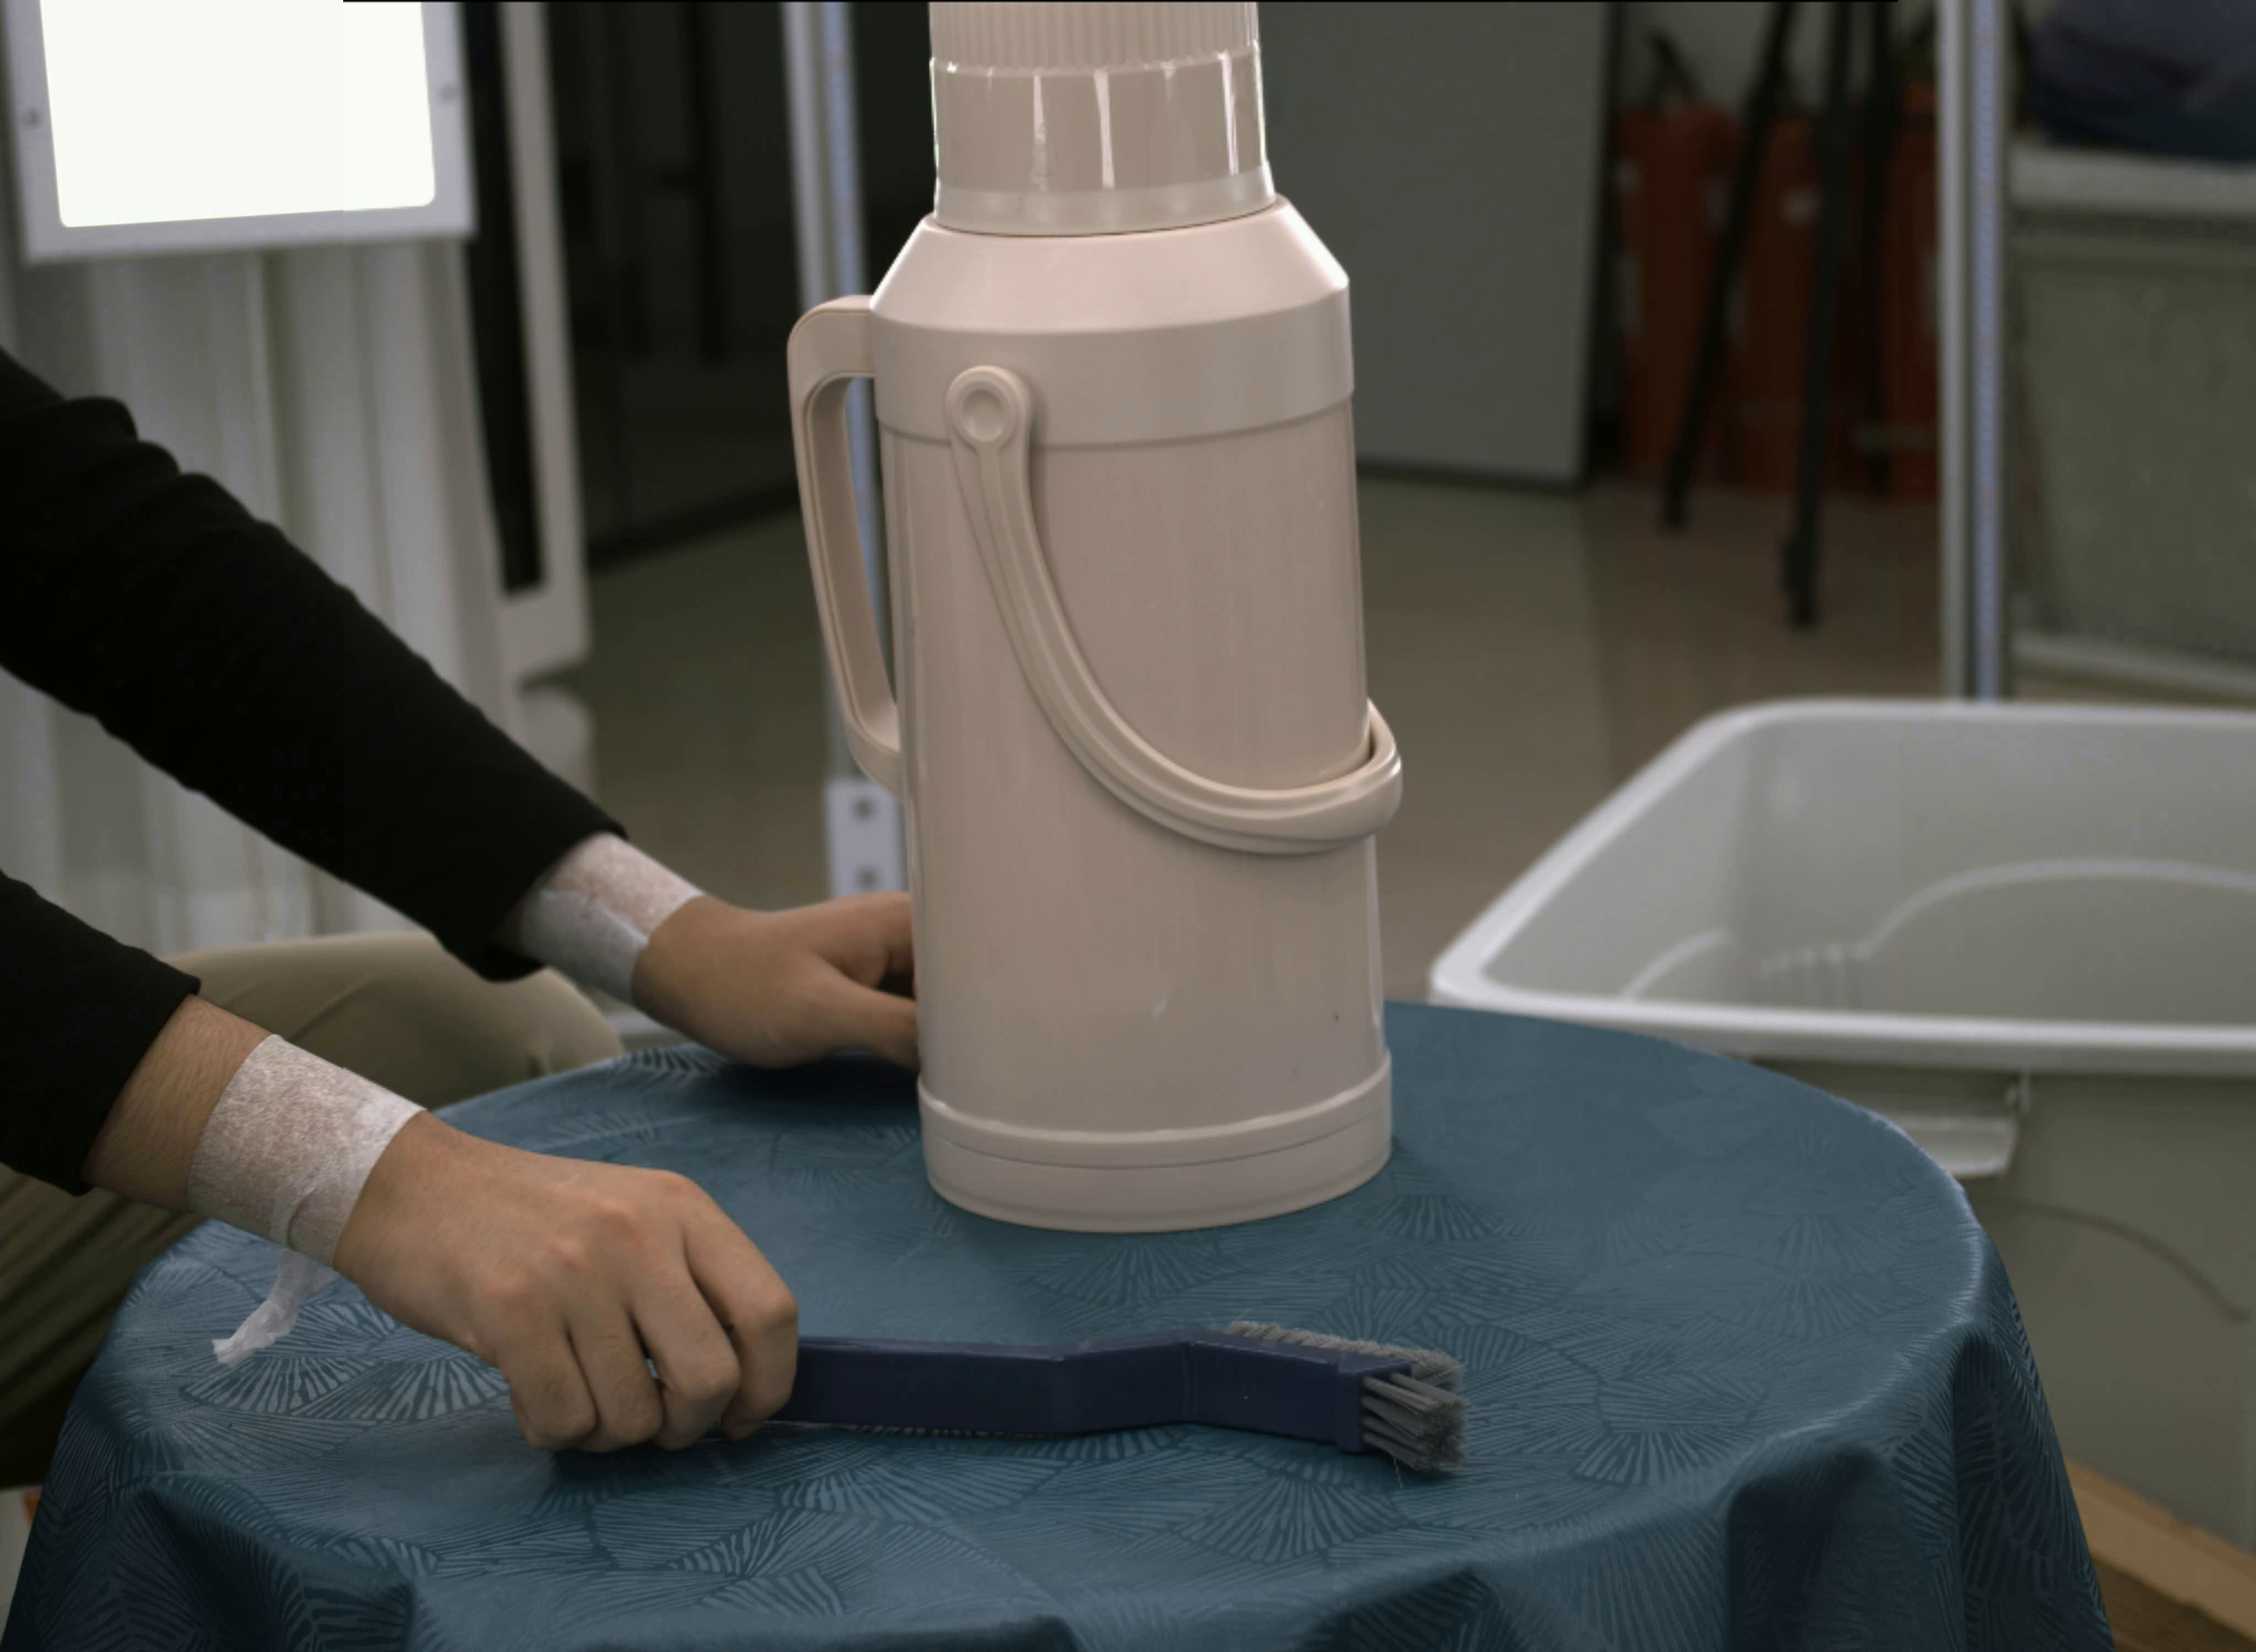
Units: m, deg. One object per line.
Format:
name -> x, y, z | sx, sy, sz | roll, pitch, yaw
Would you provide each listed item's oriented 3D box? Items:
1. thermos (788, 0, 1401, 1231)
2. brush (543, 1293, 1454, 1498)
thermos -> -0.013, -0.083, 1.766 | 0.207, 0.410, 0.173 | 4, 17, 28
brush -> -0.041, 0.161, 1.547 | 0.271, 0.034, 0.095 | 0, 13, 8
